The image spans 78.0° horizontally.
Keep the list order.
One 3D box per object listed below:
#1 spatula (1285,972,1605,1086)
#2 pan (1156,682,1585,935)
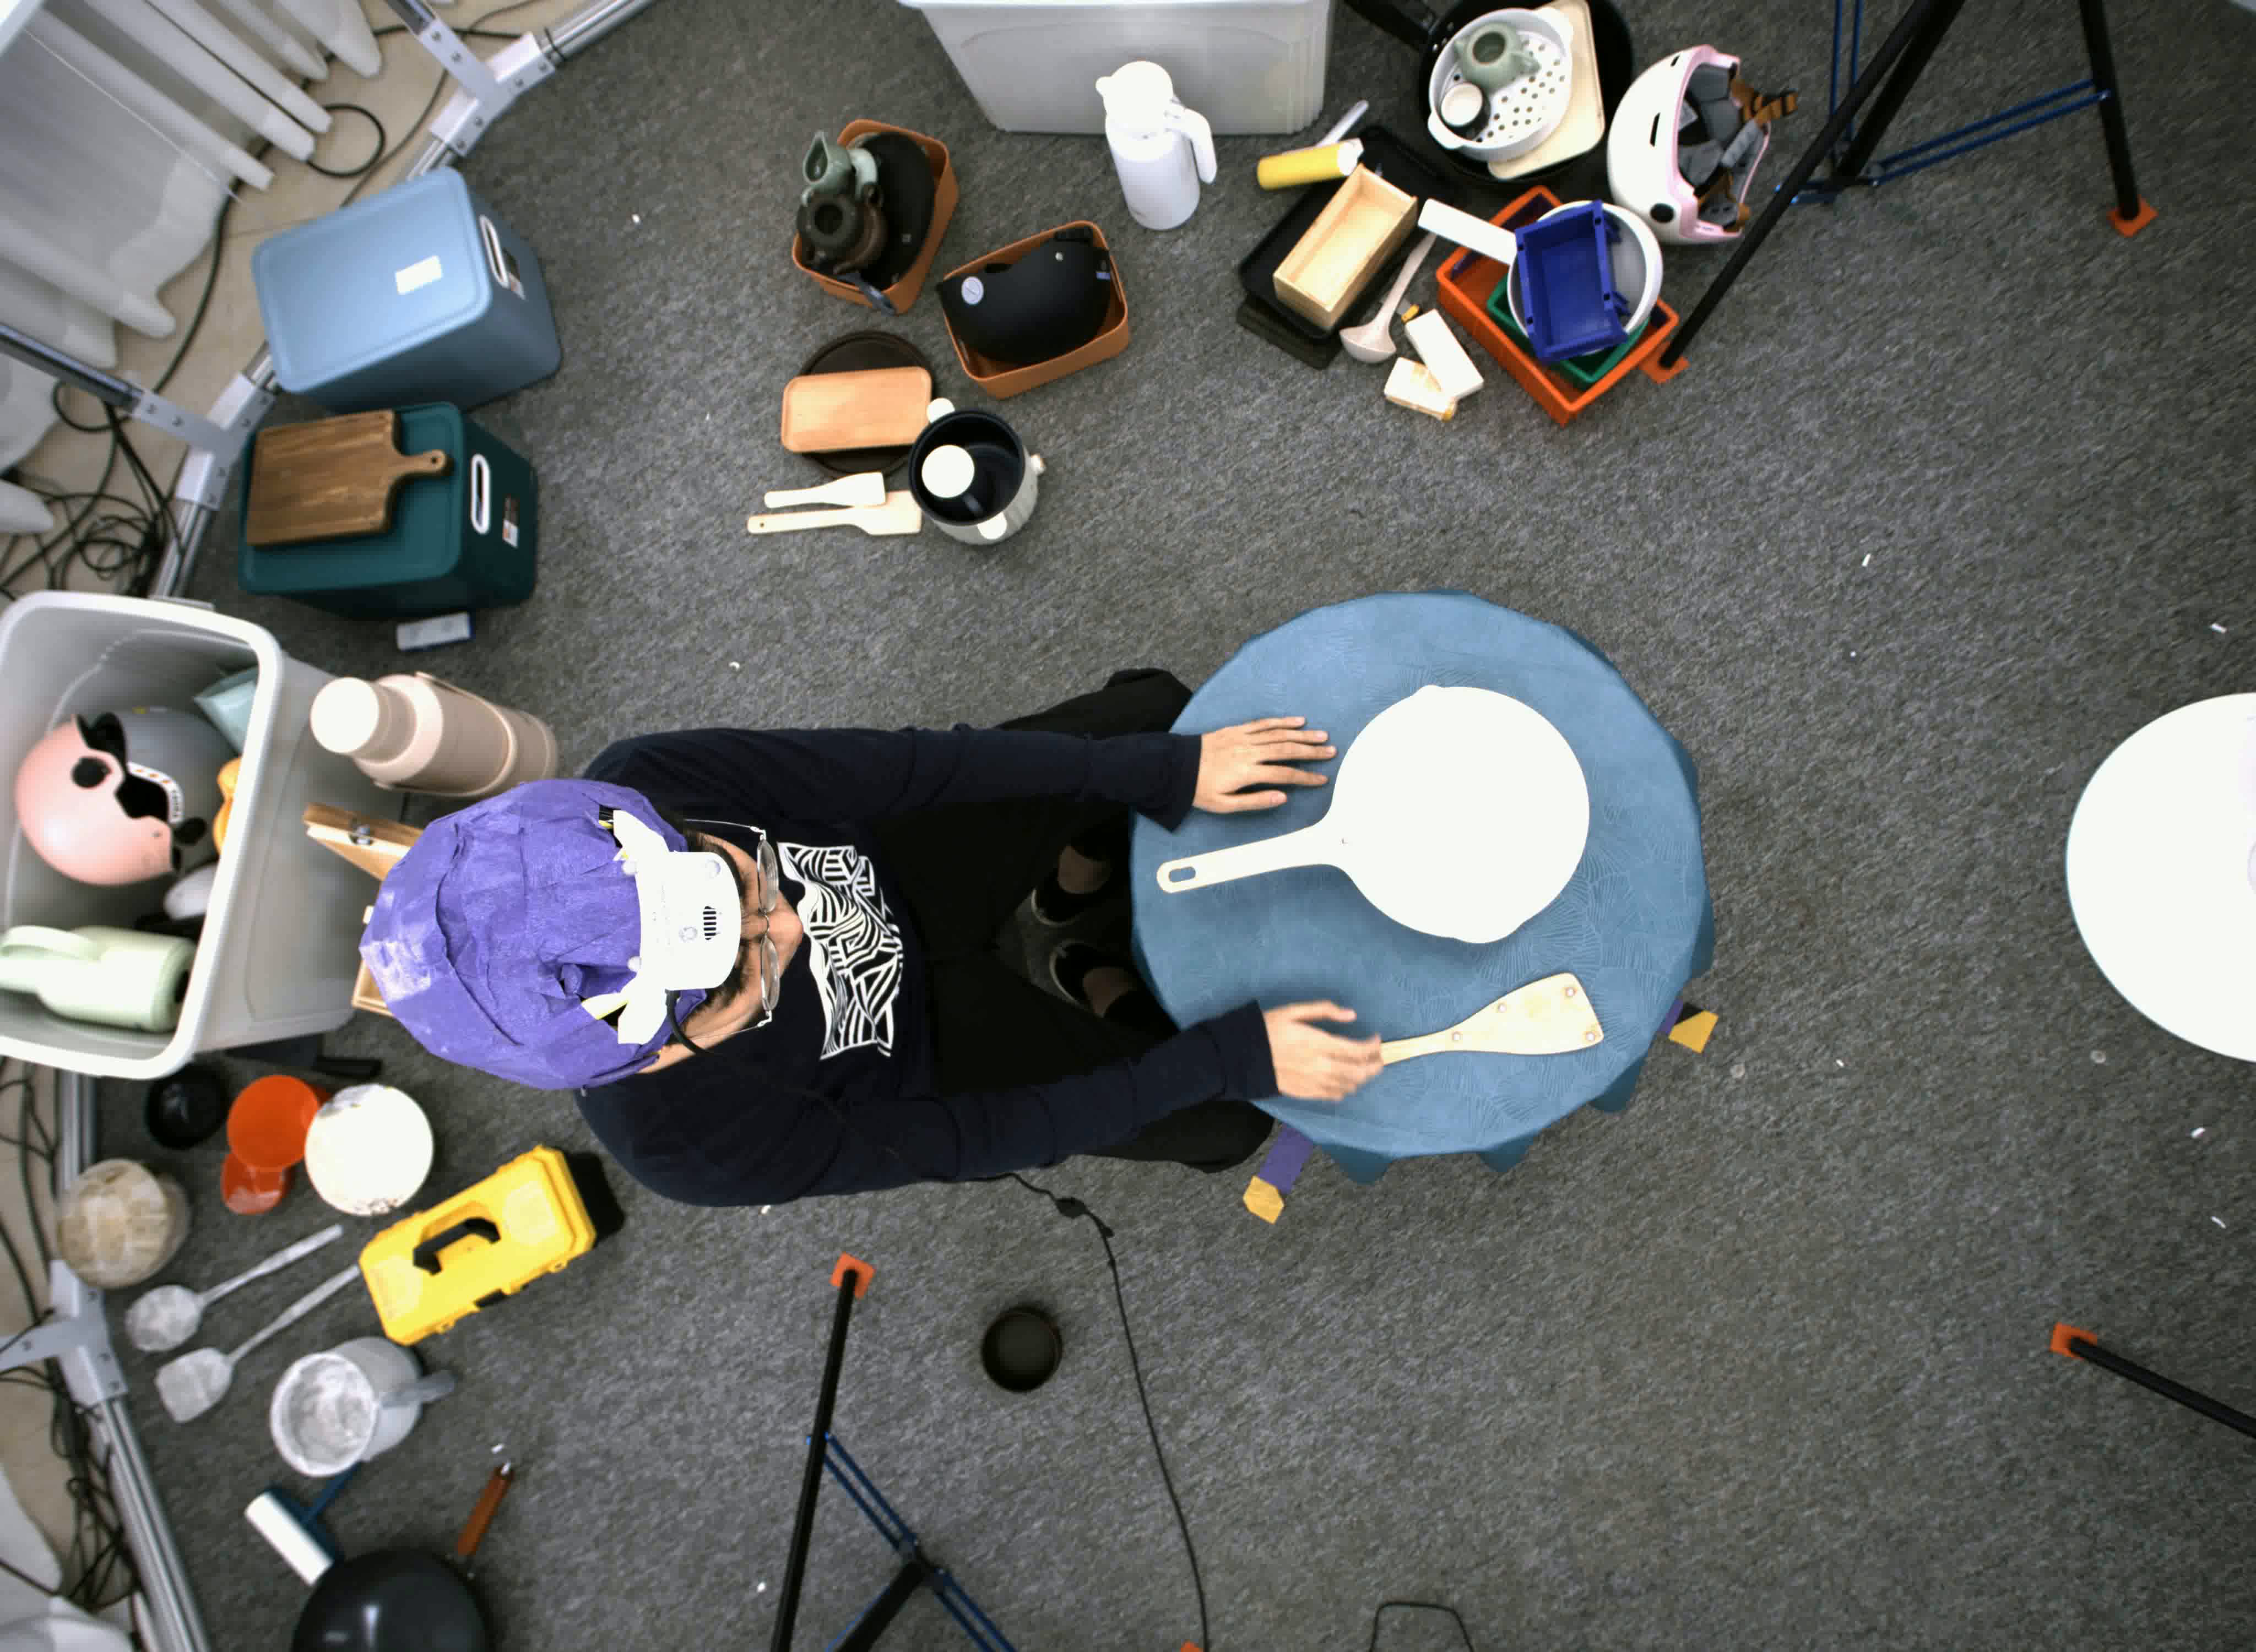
[{"bbox_3d":[0.323,0.221,1.434,0.329,0.016,0.079,-15,84,10],"label":"spatula"},{"bbox_3d":[0.245,0.005,1.420,0.437,0.102,0.262,-15,84,10],"label":"pan"}]
